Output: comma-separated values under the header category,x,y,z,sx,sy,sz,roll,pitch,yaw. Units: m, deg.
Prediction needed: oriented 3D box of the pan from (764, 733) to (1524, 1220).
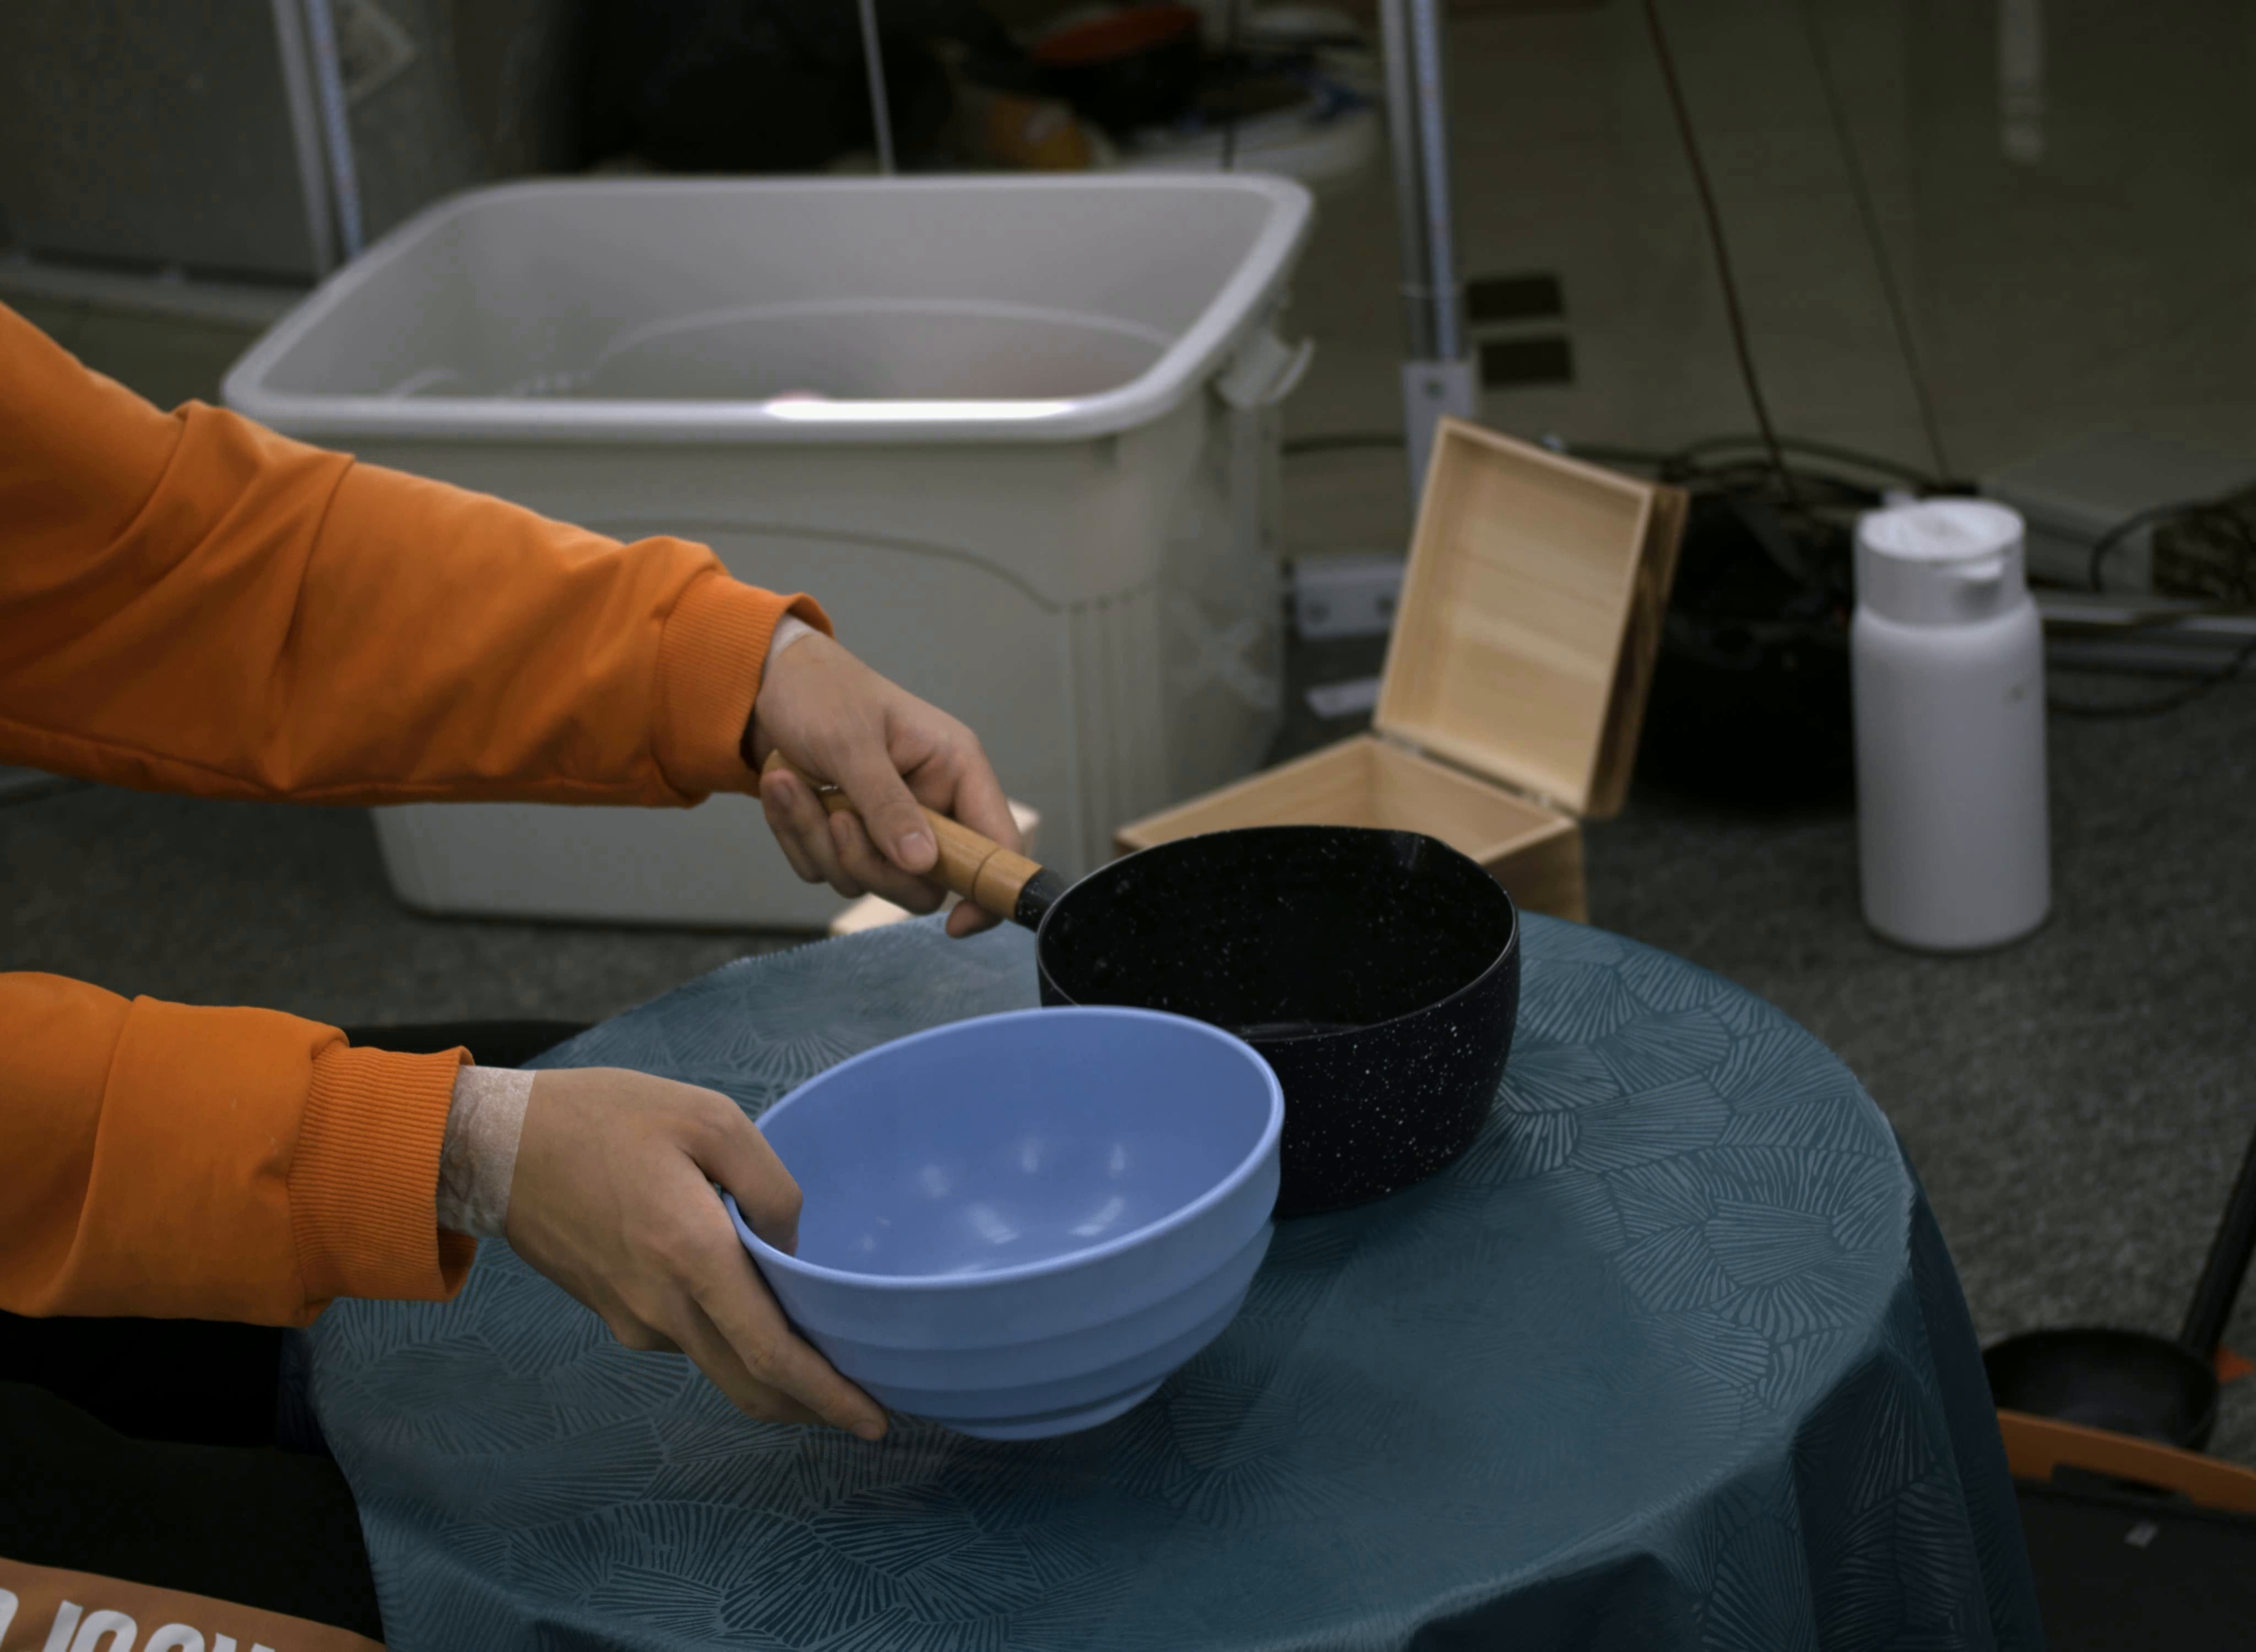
category,x,y,z,sx,sy,sz,roll,pitch,yaw
pan,-0.005,0.050,2.198,0.340,0.110,0.205,15,33,33

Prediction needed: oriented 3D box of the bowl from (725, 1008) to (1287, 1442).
category,x,y,z,sx,sy,sz,roll,pitch,yaw
bowl,-0.036,0.150,1.971,0.196,0.097,0.193,-8,26,4
